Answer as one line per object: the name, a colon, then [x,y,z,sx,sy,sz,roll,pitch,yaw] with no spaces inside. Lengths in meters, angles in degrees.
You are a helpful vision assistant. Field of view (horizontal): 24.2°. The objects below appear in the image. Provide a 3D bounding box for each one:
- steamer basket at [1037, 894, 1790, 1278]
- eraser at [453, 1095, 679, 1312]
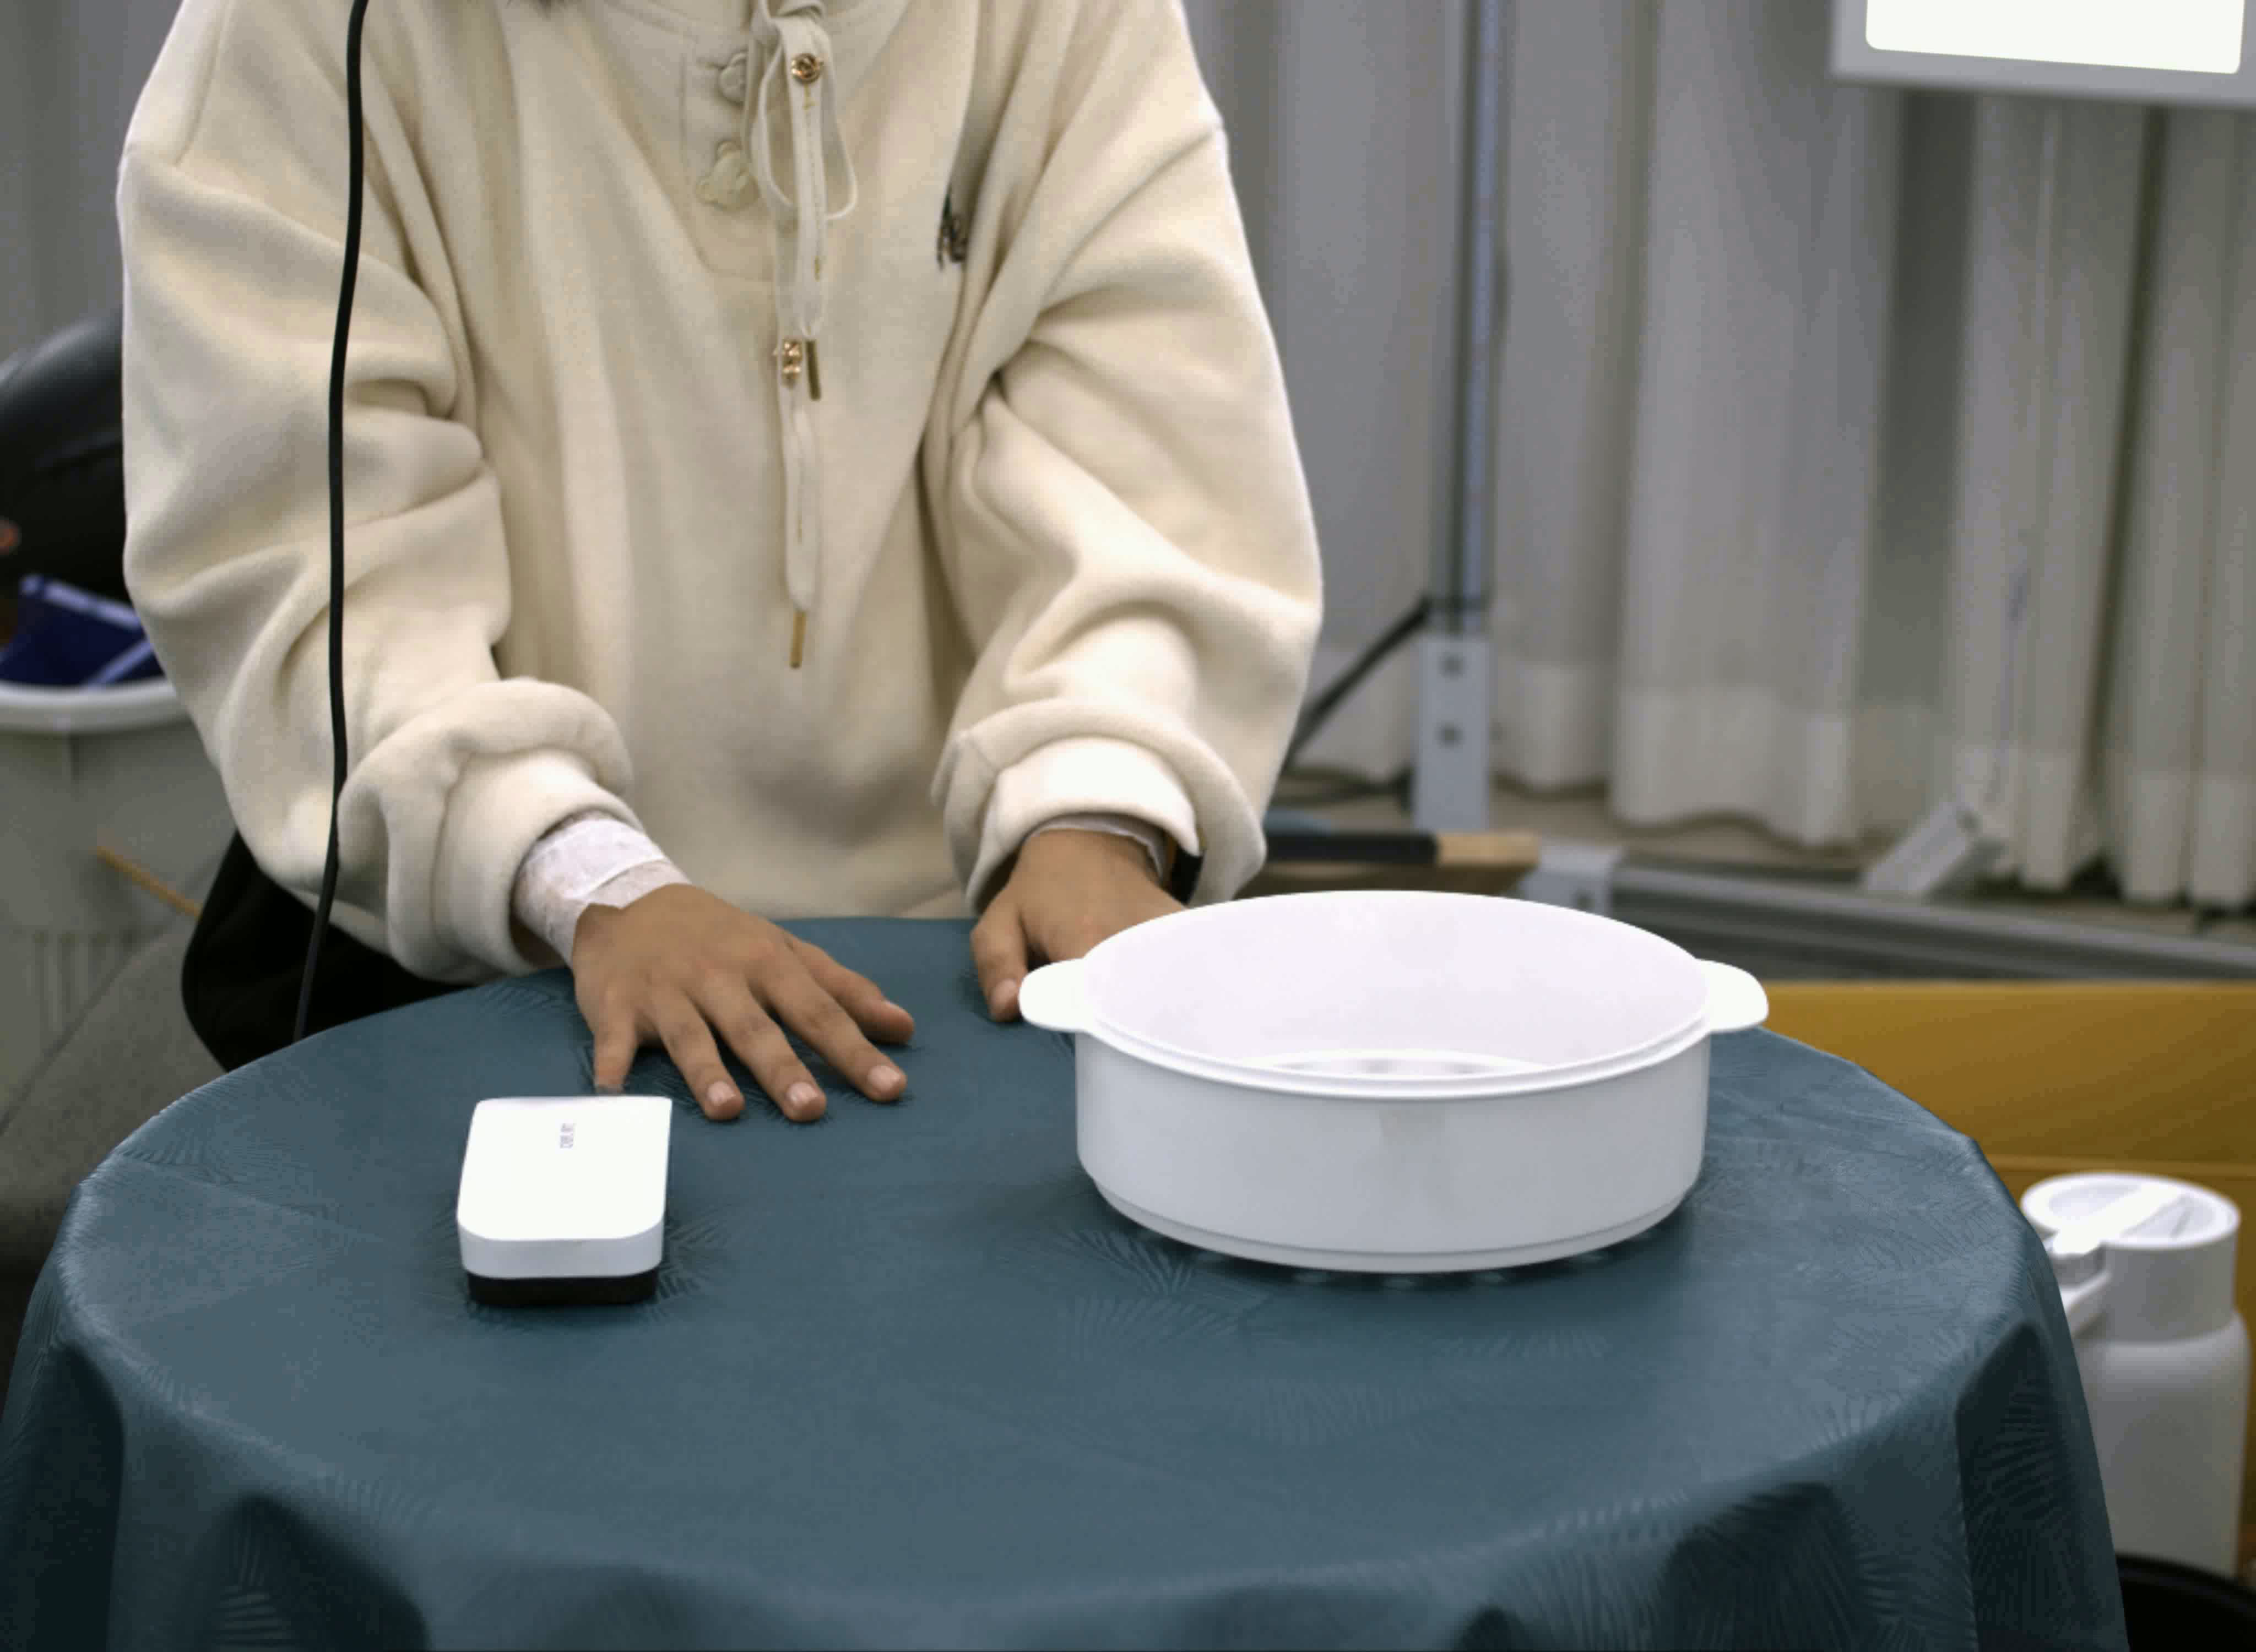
steamer basket: [0.087,0.079,1.619,0.230,0.070,0.201,1,15,-1]
eraser: [-0.166,0.108,1.574,0.063,0.035,0.130,0,16,-2]
